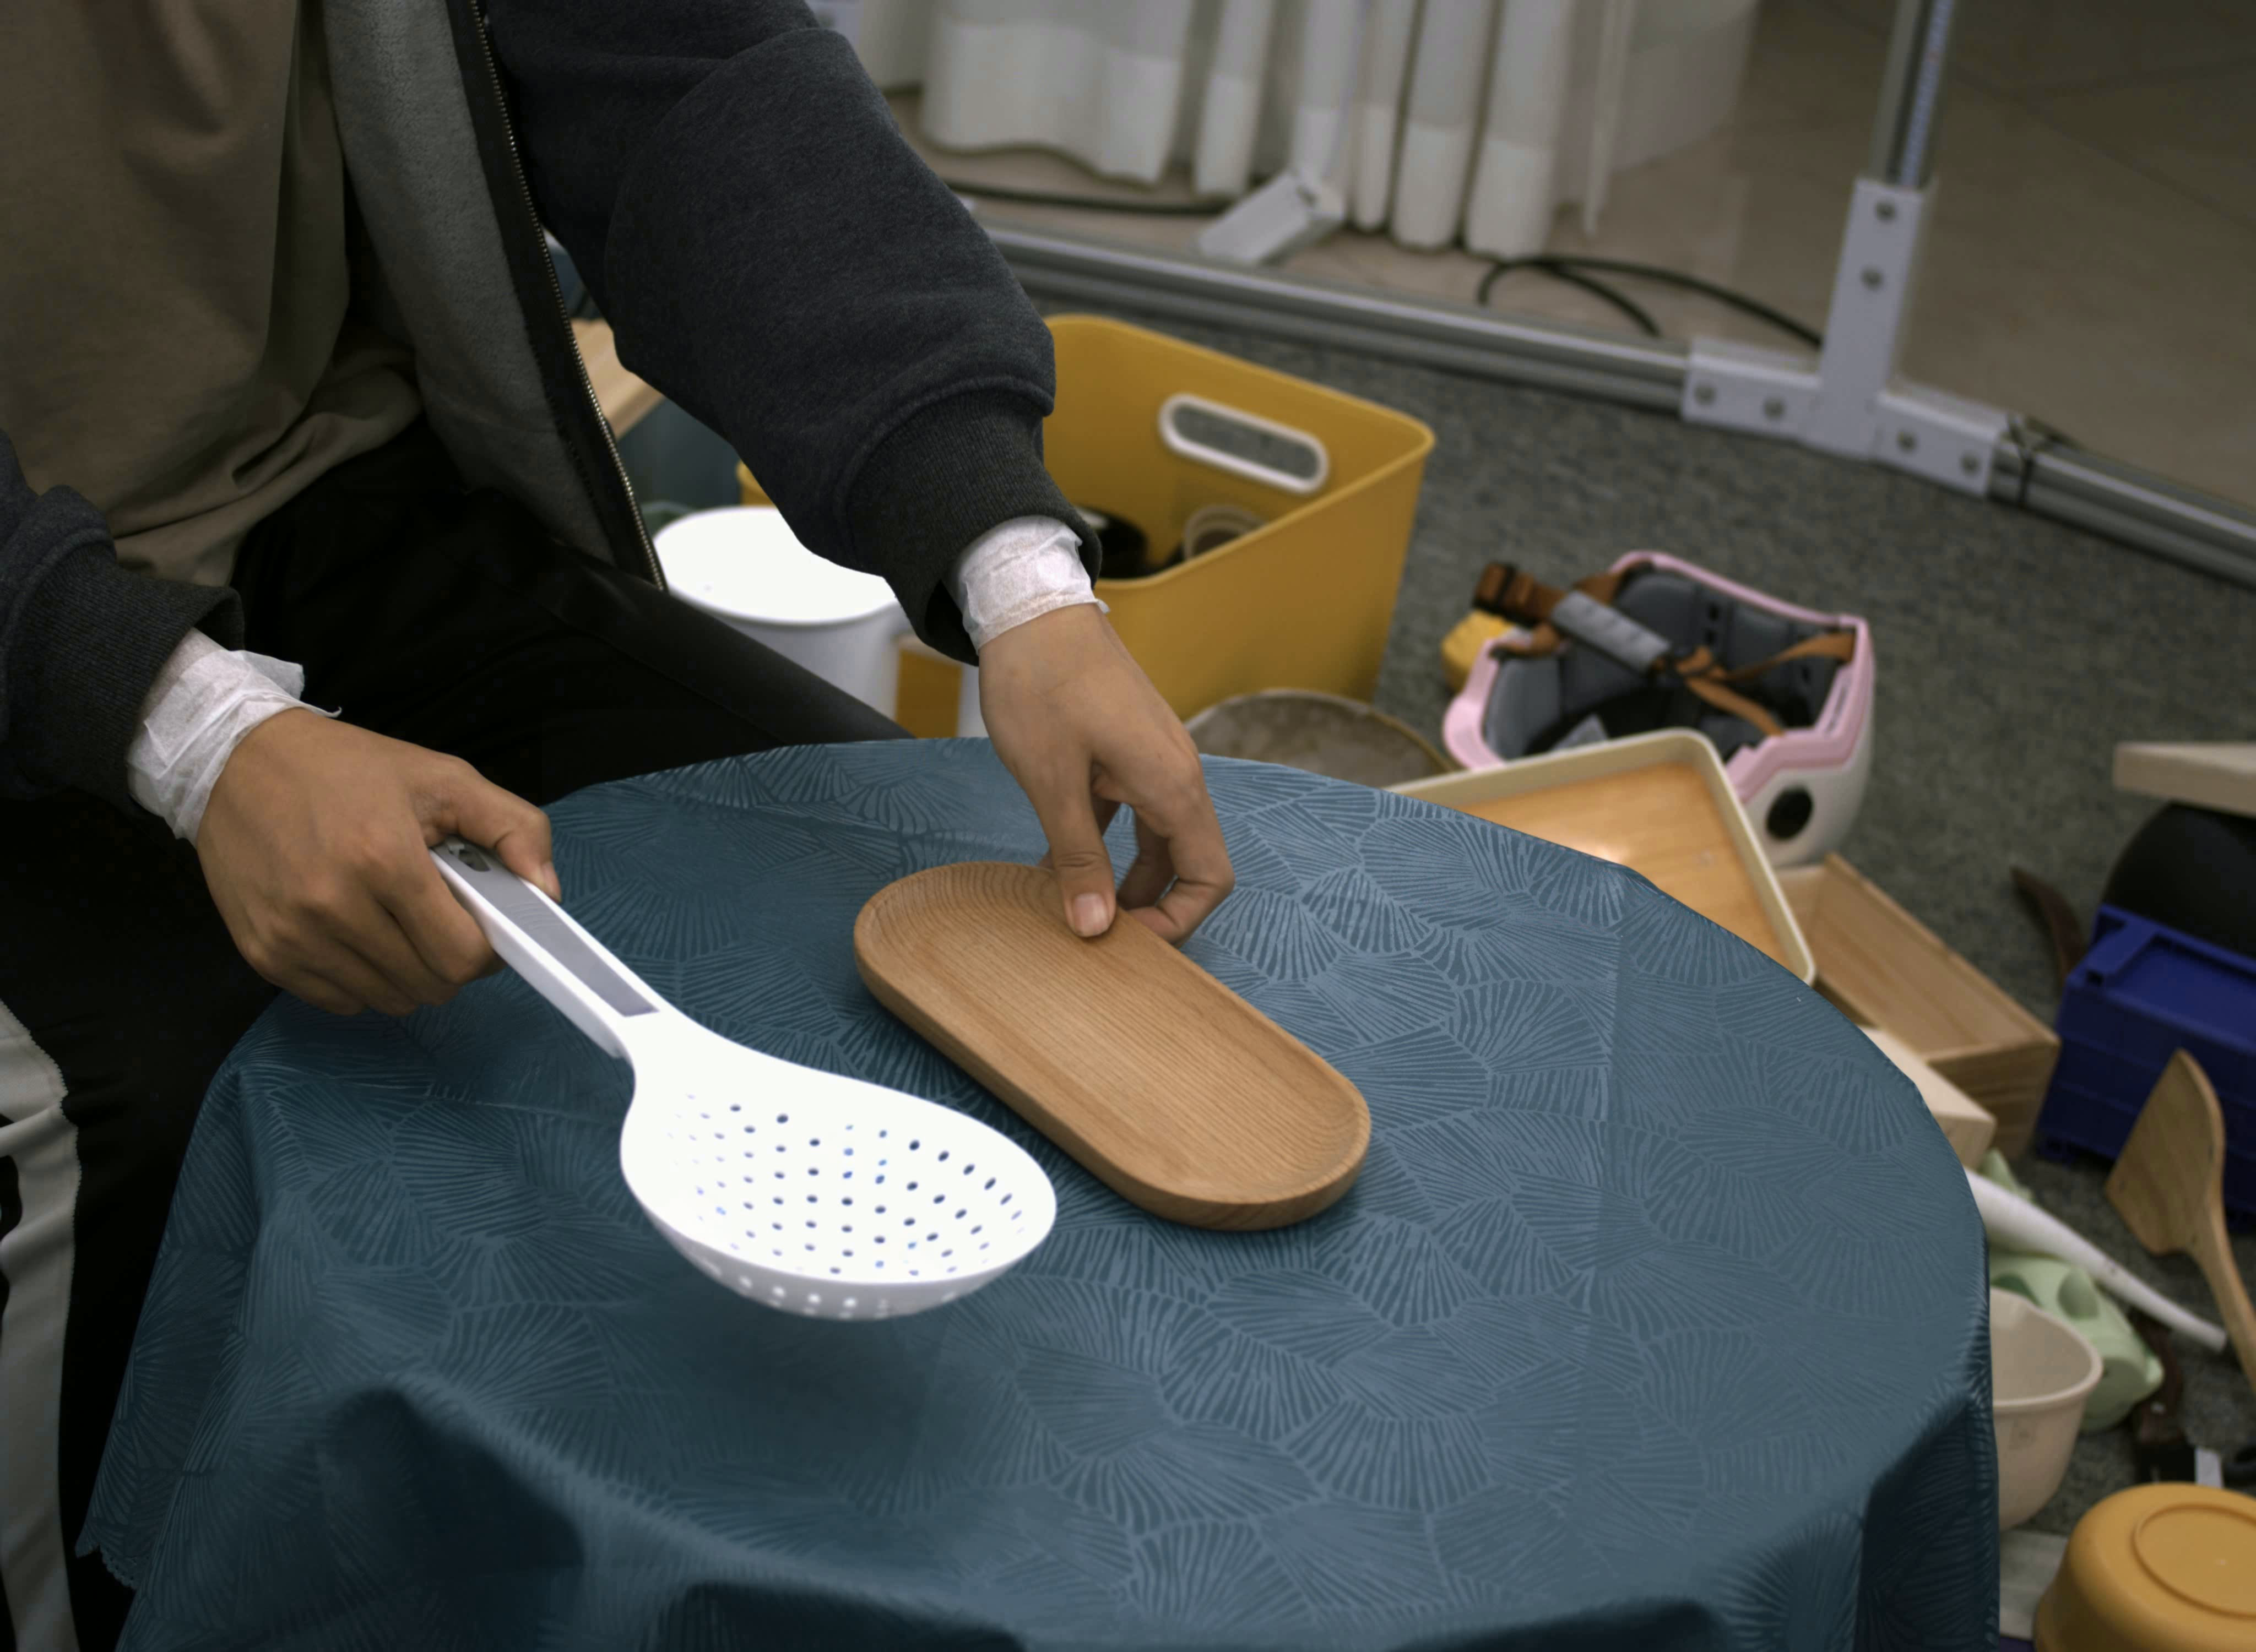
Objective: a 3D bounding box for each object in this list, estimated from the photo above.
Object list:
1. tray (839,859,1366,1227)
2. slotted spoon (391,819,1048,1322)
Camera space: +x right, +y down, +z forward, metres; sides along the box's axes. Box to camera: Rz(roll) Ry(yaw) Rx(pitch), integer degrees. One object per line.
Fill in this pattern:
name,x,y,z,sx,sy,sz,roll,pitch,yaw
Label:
tray,-0.011,0.074,1.864,0.101,0.020,0.233,-19,38,-36
slotted spoon,-0.152,0.073,1.732,0.135,0.045,0.353,-6,31,-34
